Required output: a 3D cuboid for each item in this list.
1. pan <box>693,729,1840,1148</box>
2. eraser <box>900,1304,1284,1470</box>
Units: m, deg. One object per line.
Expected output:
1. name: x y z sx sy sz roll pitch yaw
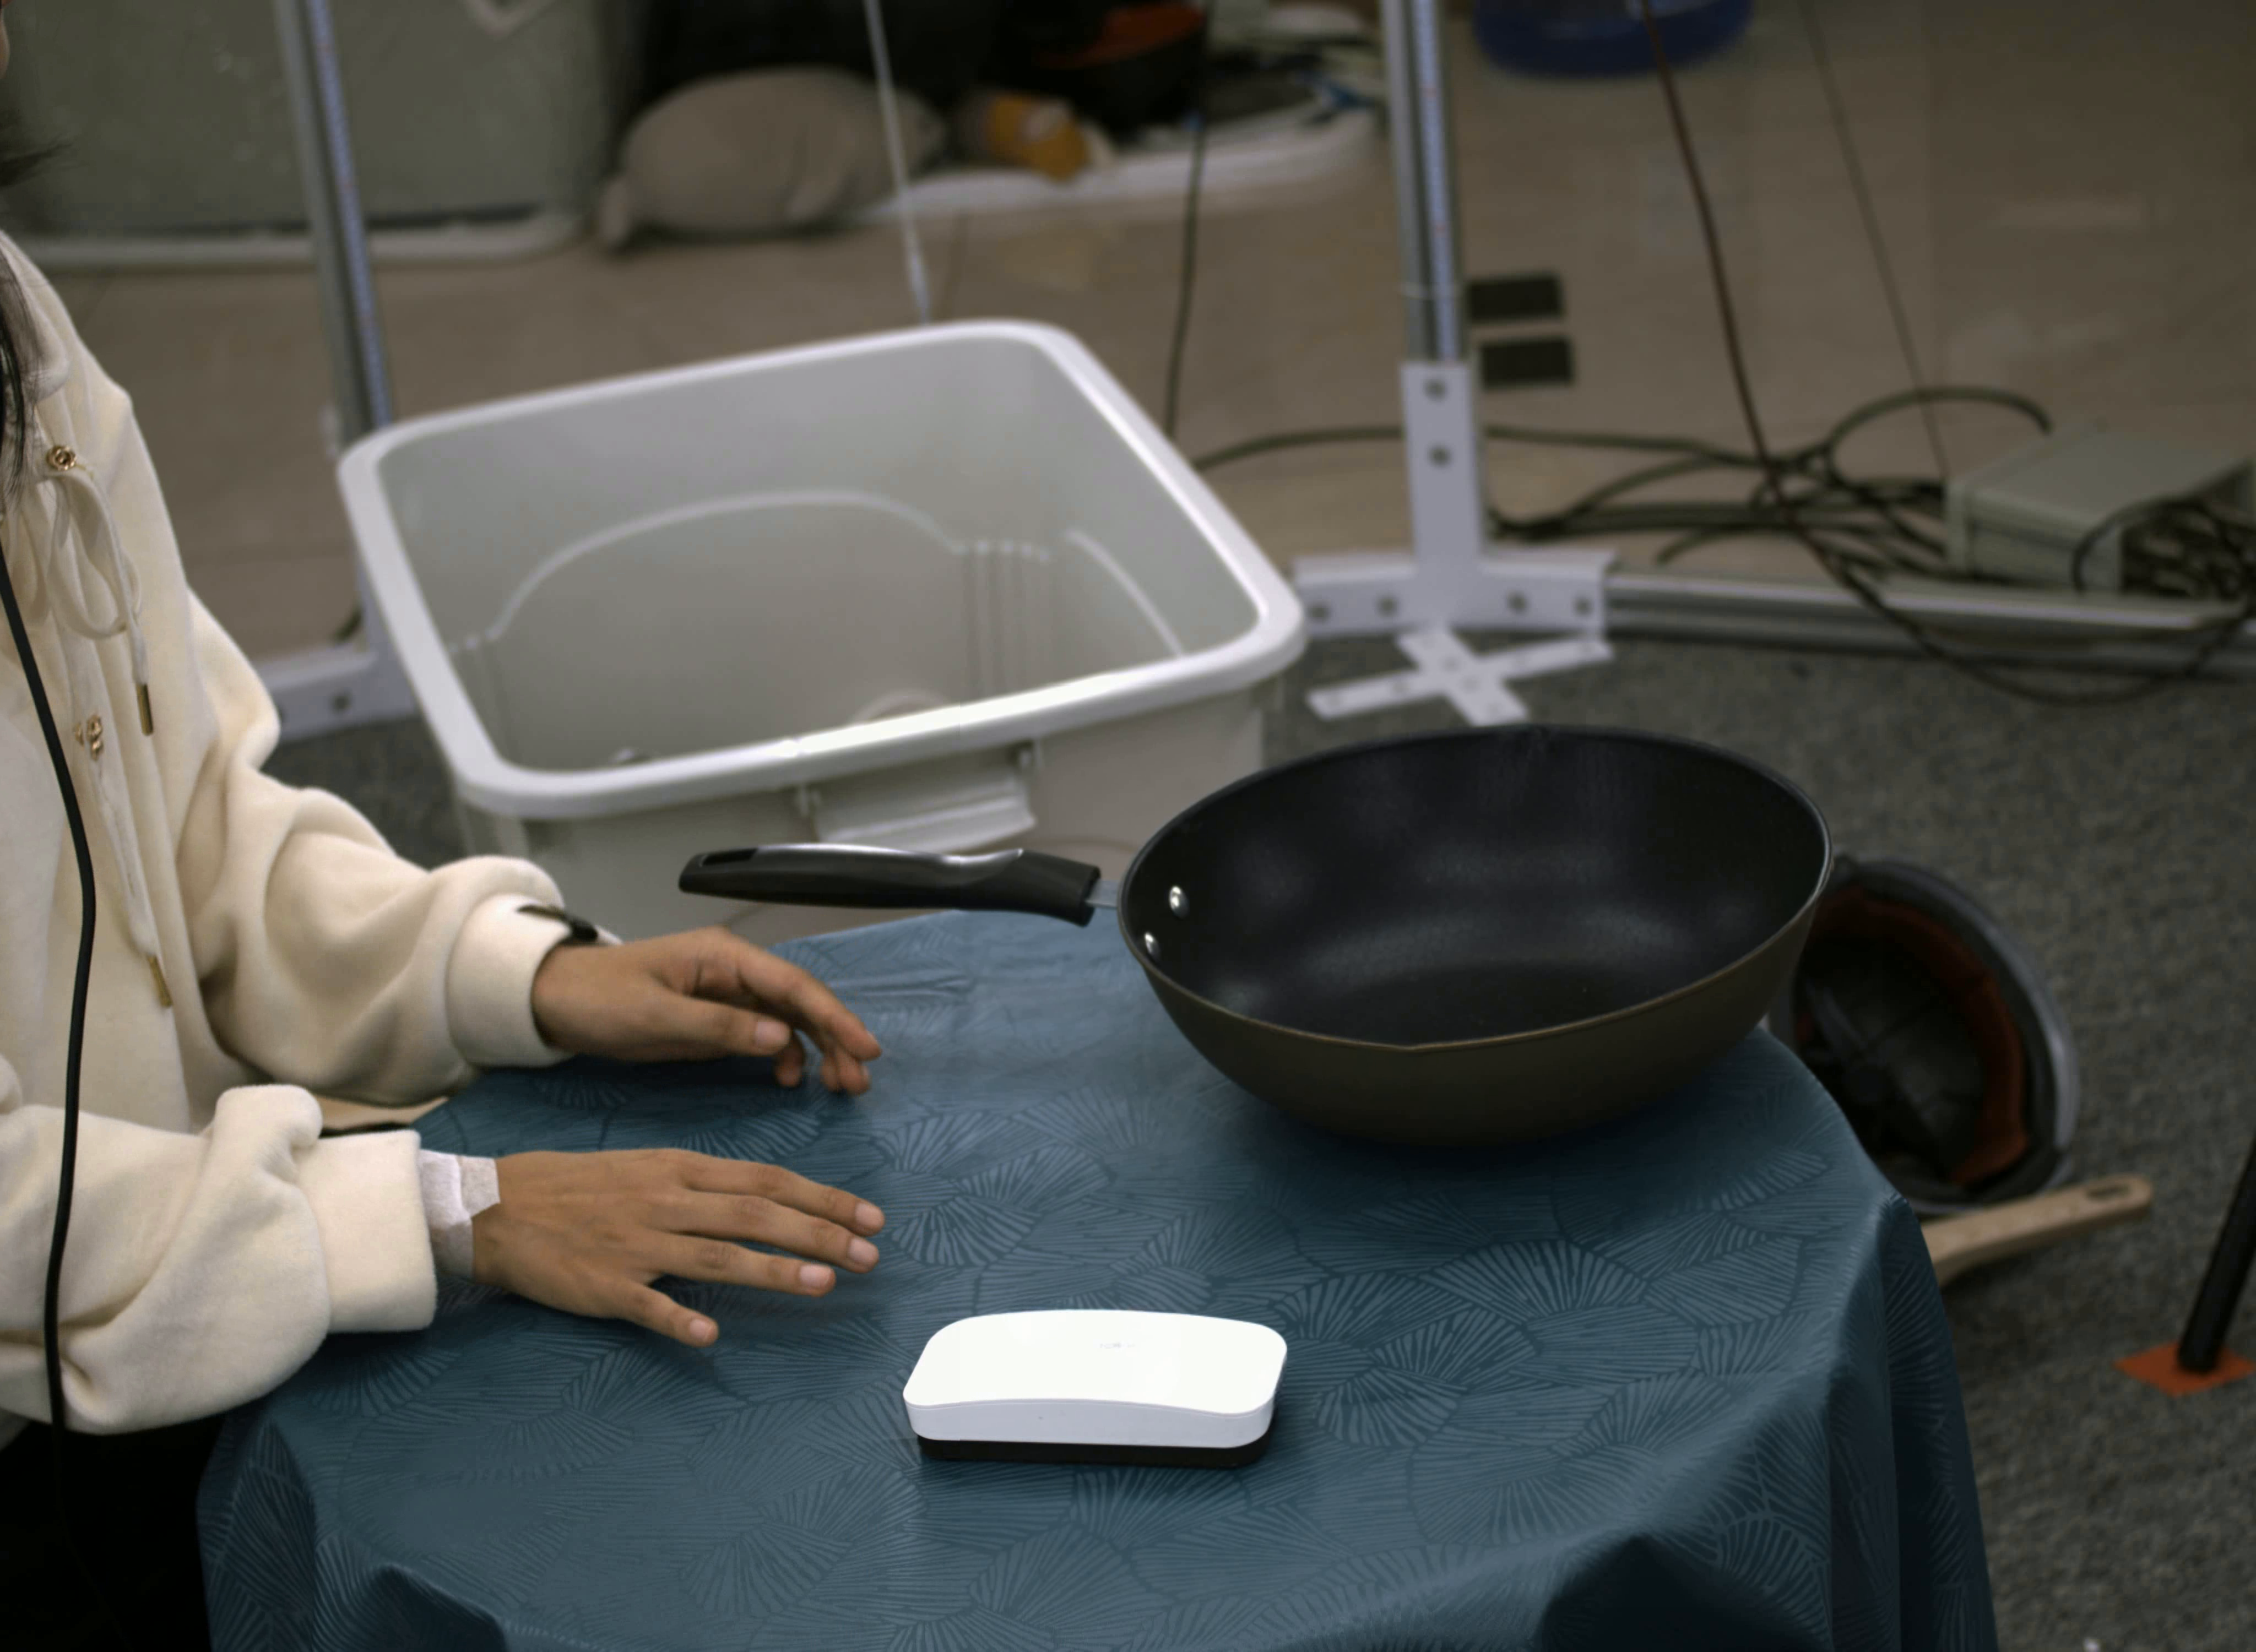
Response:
1. pan: 0.051 0.052 2.224 0.462 0.088 0.284 0 25 16
2. eraser: -0.012 0.197 1.990 0.131 0.035 0.062 1 23 14
